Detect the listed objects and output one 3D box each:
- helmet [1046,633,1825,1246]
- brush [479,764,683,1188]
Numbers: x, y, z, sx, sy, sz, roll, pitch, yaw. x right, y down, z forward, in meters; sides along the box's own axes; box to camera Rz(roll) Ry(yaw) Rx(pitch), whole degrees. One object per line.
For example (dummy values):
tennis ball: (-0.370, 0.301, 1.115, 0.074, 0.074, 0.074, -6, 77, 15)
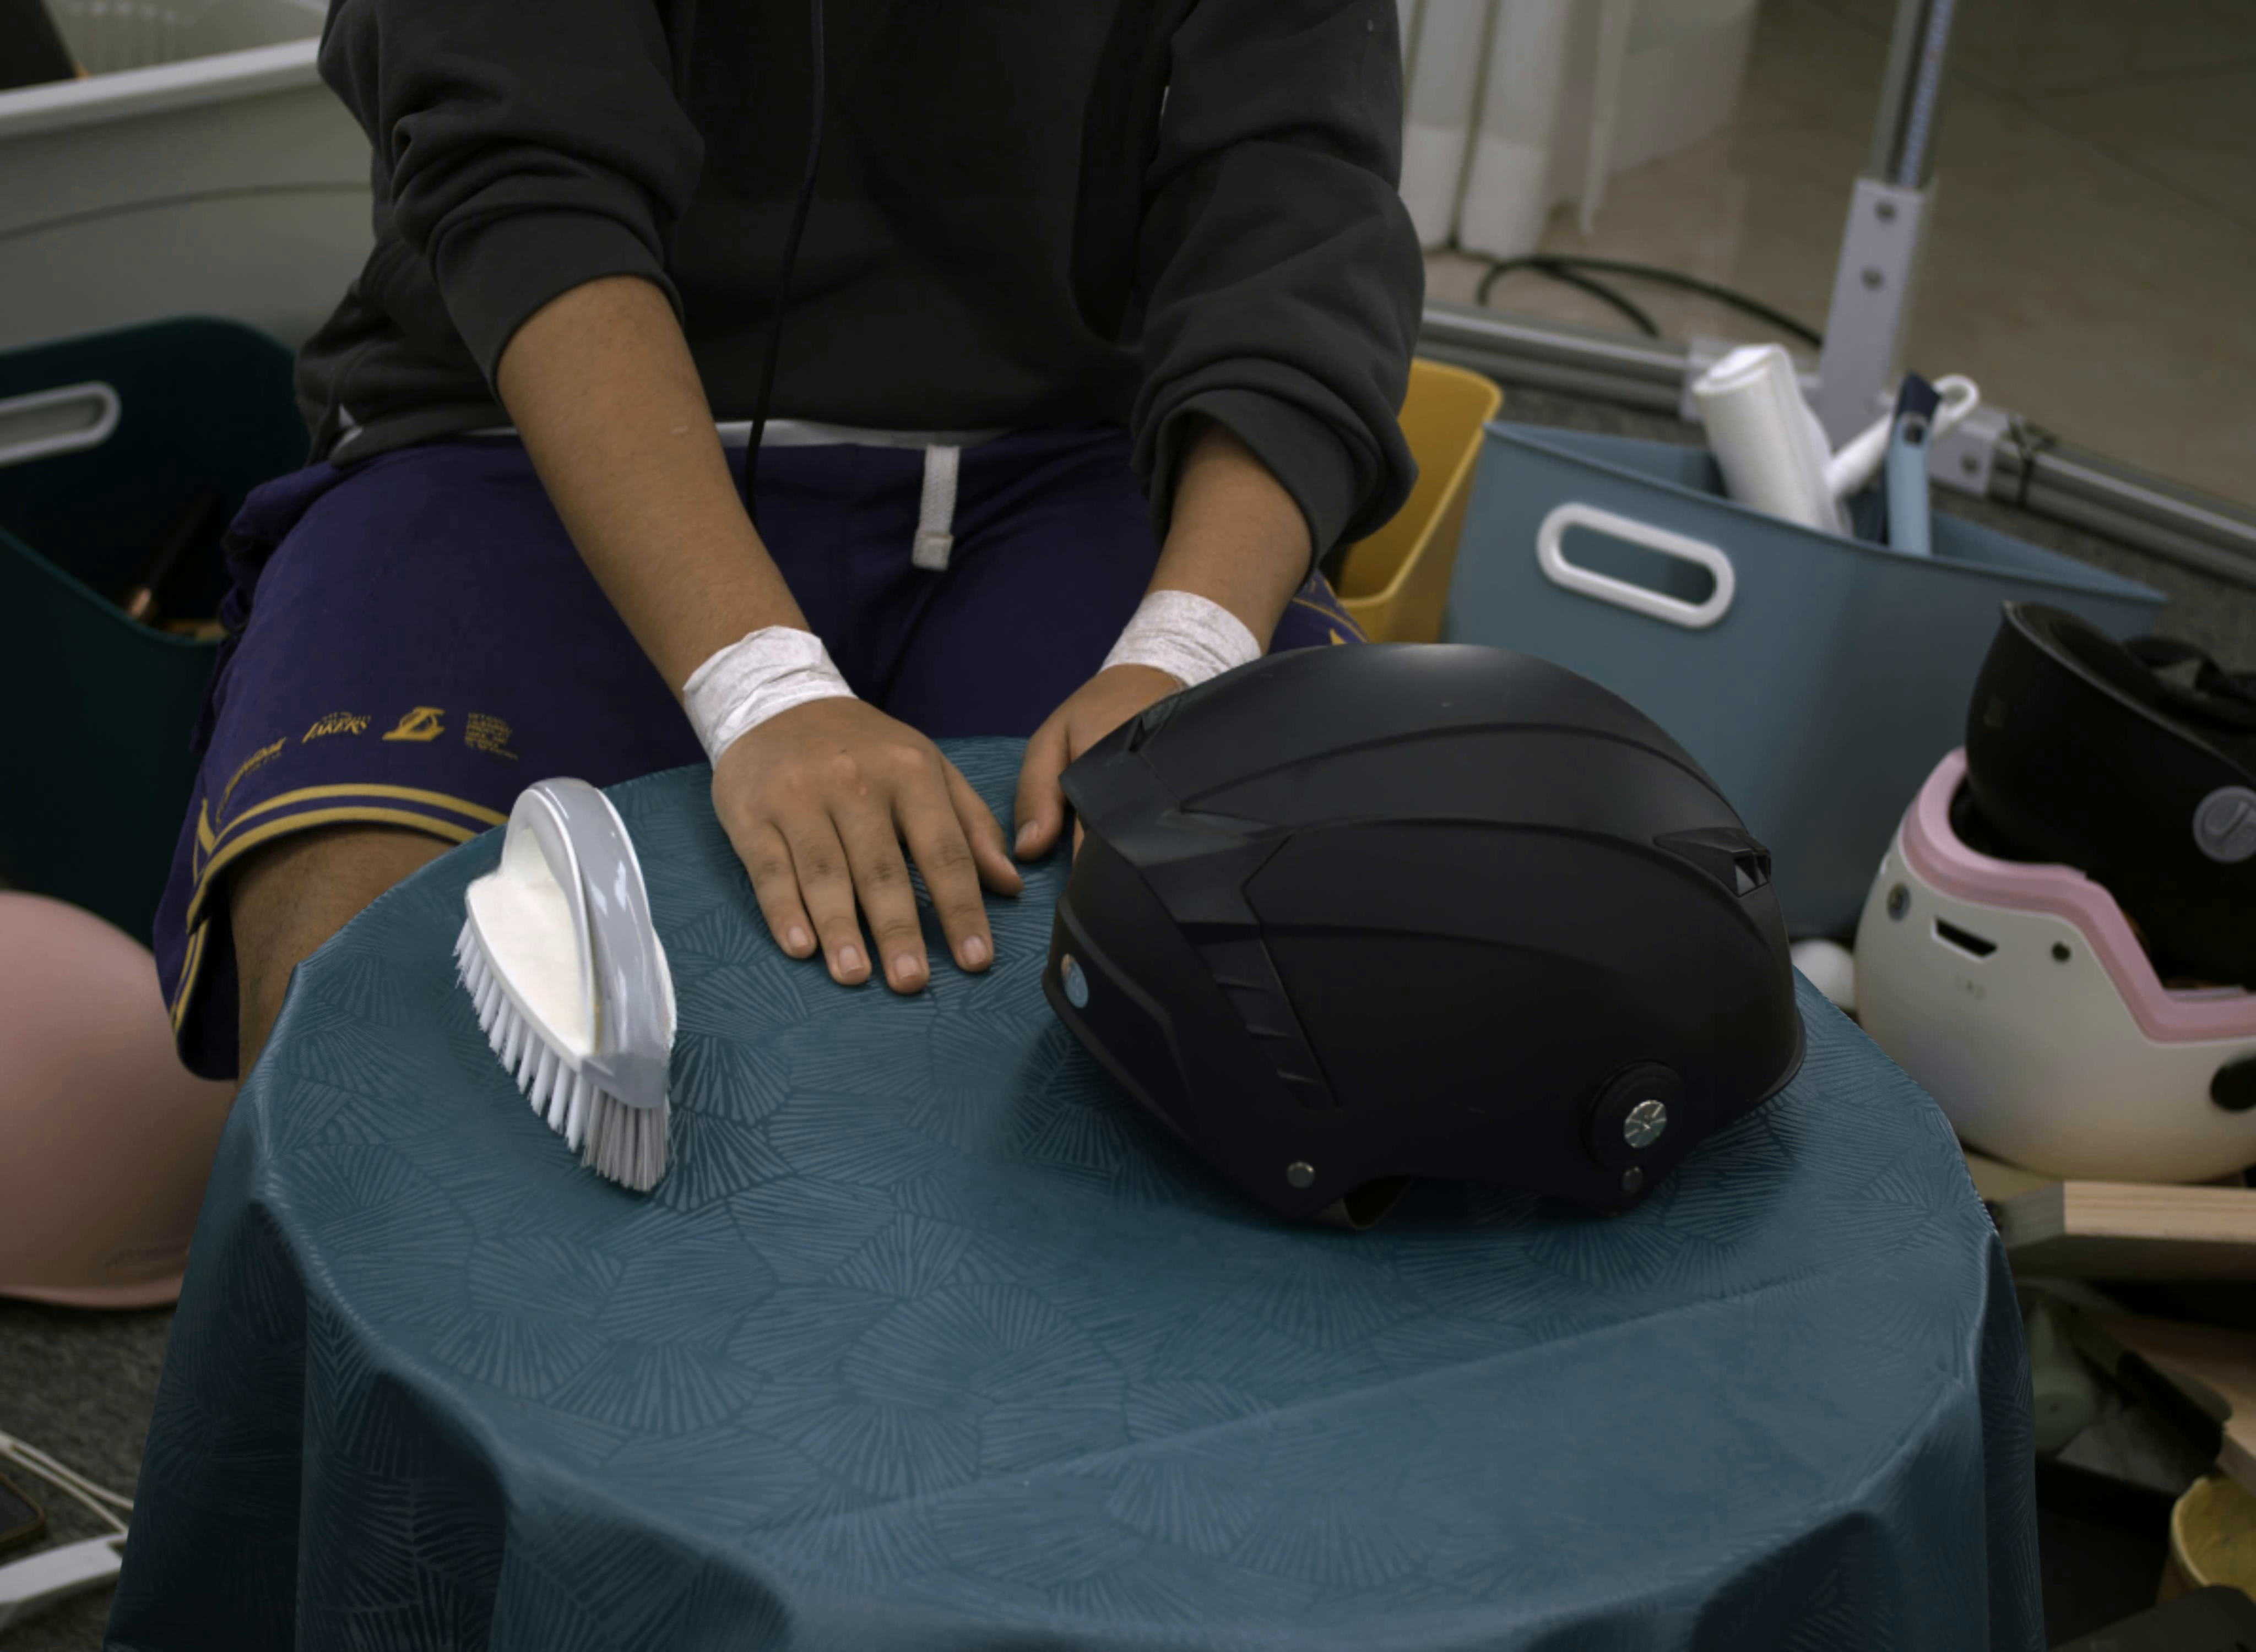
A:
helmet: (0.107, 0.021, 1.853, 0.275, 0.172, 0.249, -8, 31, -19)
brush: (-0.181, 0.043, 1.819, 0.061, 0.094, 0.177, -4, 30, -17)
